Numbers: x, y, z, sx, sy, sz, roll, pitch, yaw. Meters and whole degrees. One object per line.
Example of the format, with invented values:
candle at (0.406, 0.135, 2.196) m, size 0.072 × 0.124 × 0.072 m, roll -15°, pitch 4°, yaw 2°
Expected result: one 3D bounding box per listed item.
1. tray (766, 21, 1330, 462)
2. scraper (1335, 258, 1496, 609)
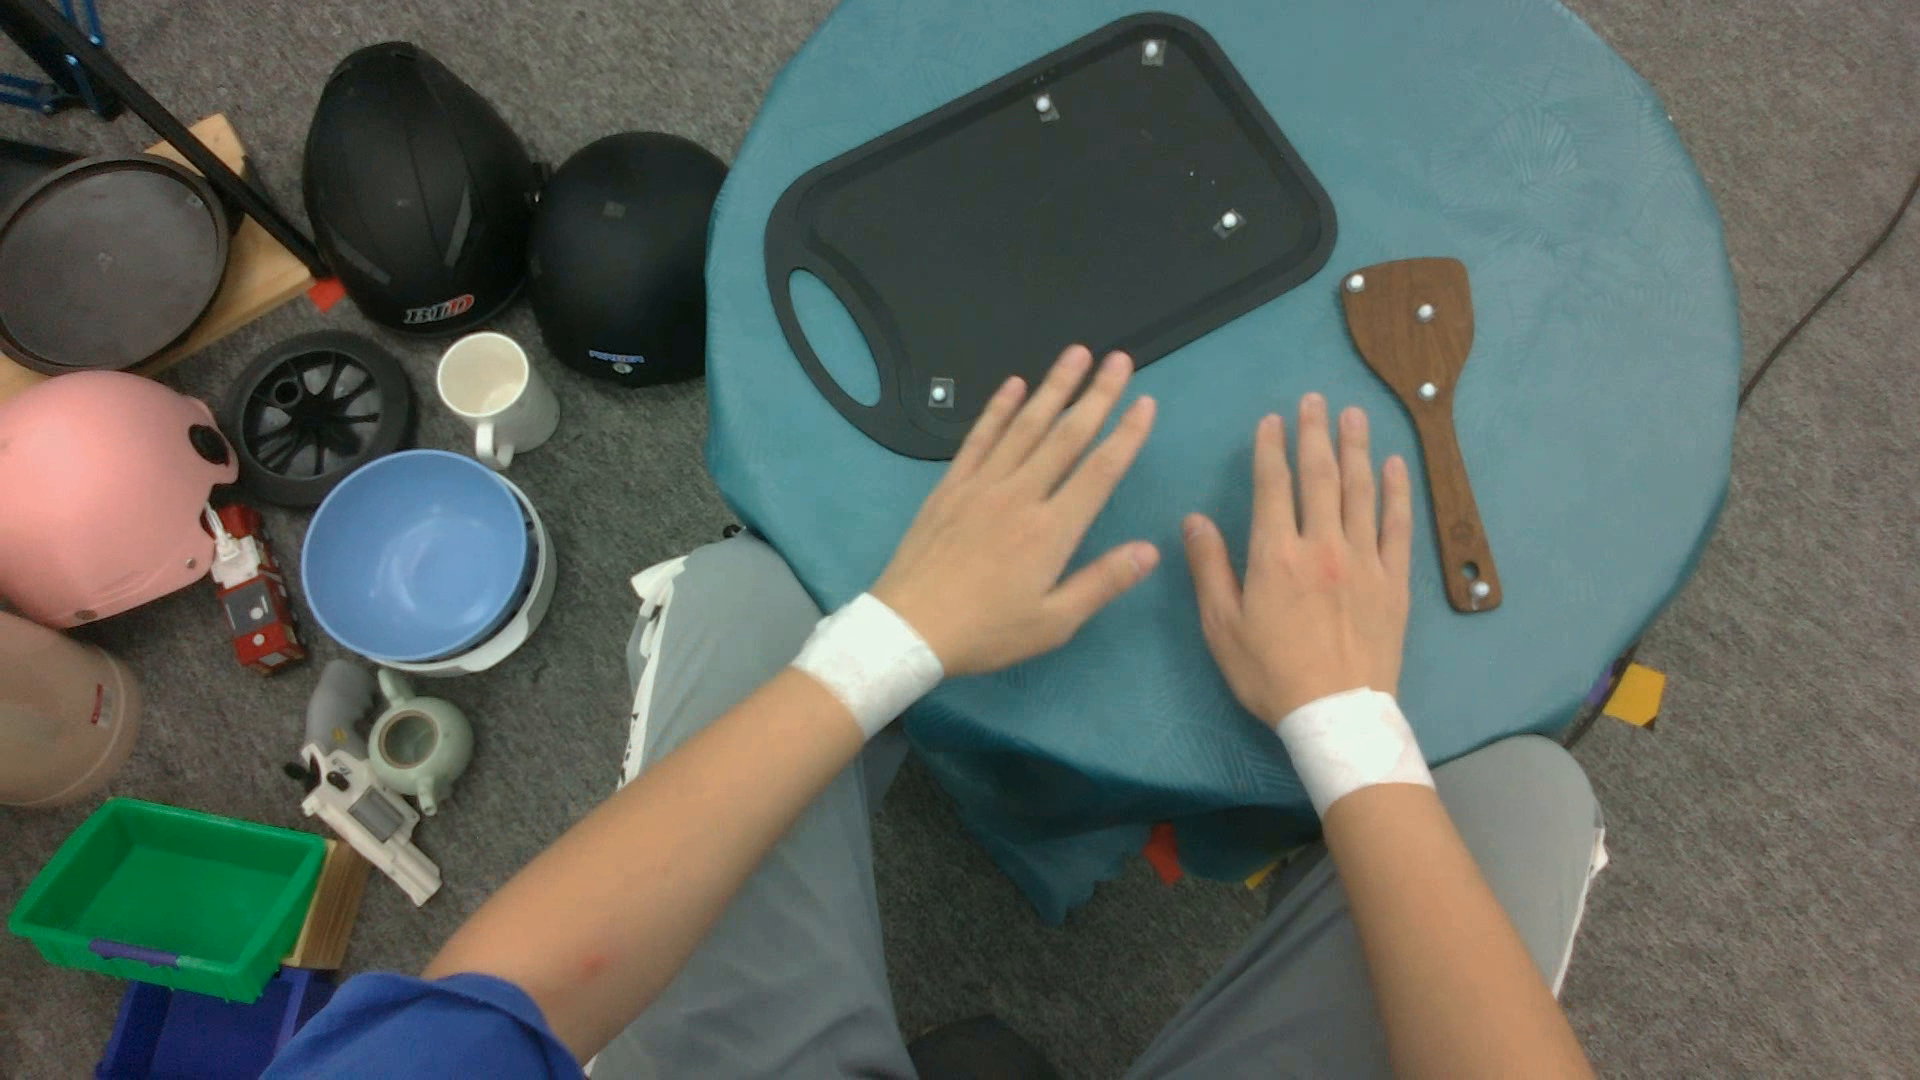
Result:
tray at (0.046, -0.182, 0.825) m, size 0.326 × 0.010 × 0.211 m, roll -28°, pitch 73°, yaw -8°
scraper at (0.267, -0.063, 0.781) m, size 0.076 × 0.011 × 0.212 m, roll -7°, pitch 72°, yaw -1°
